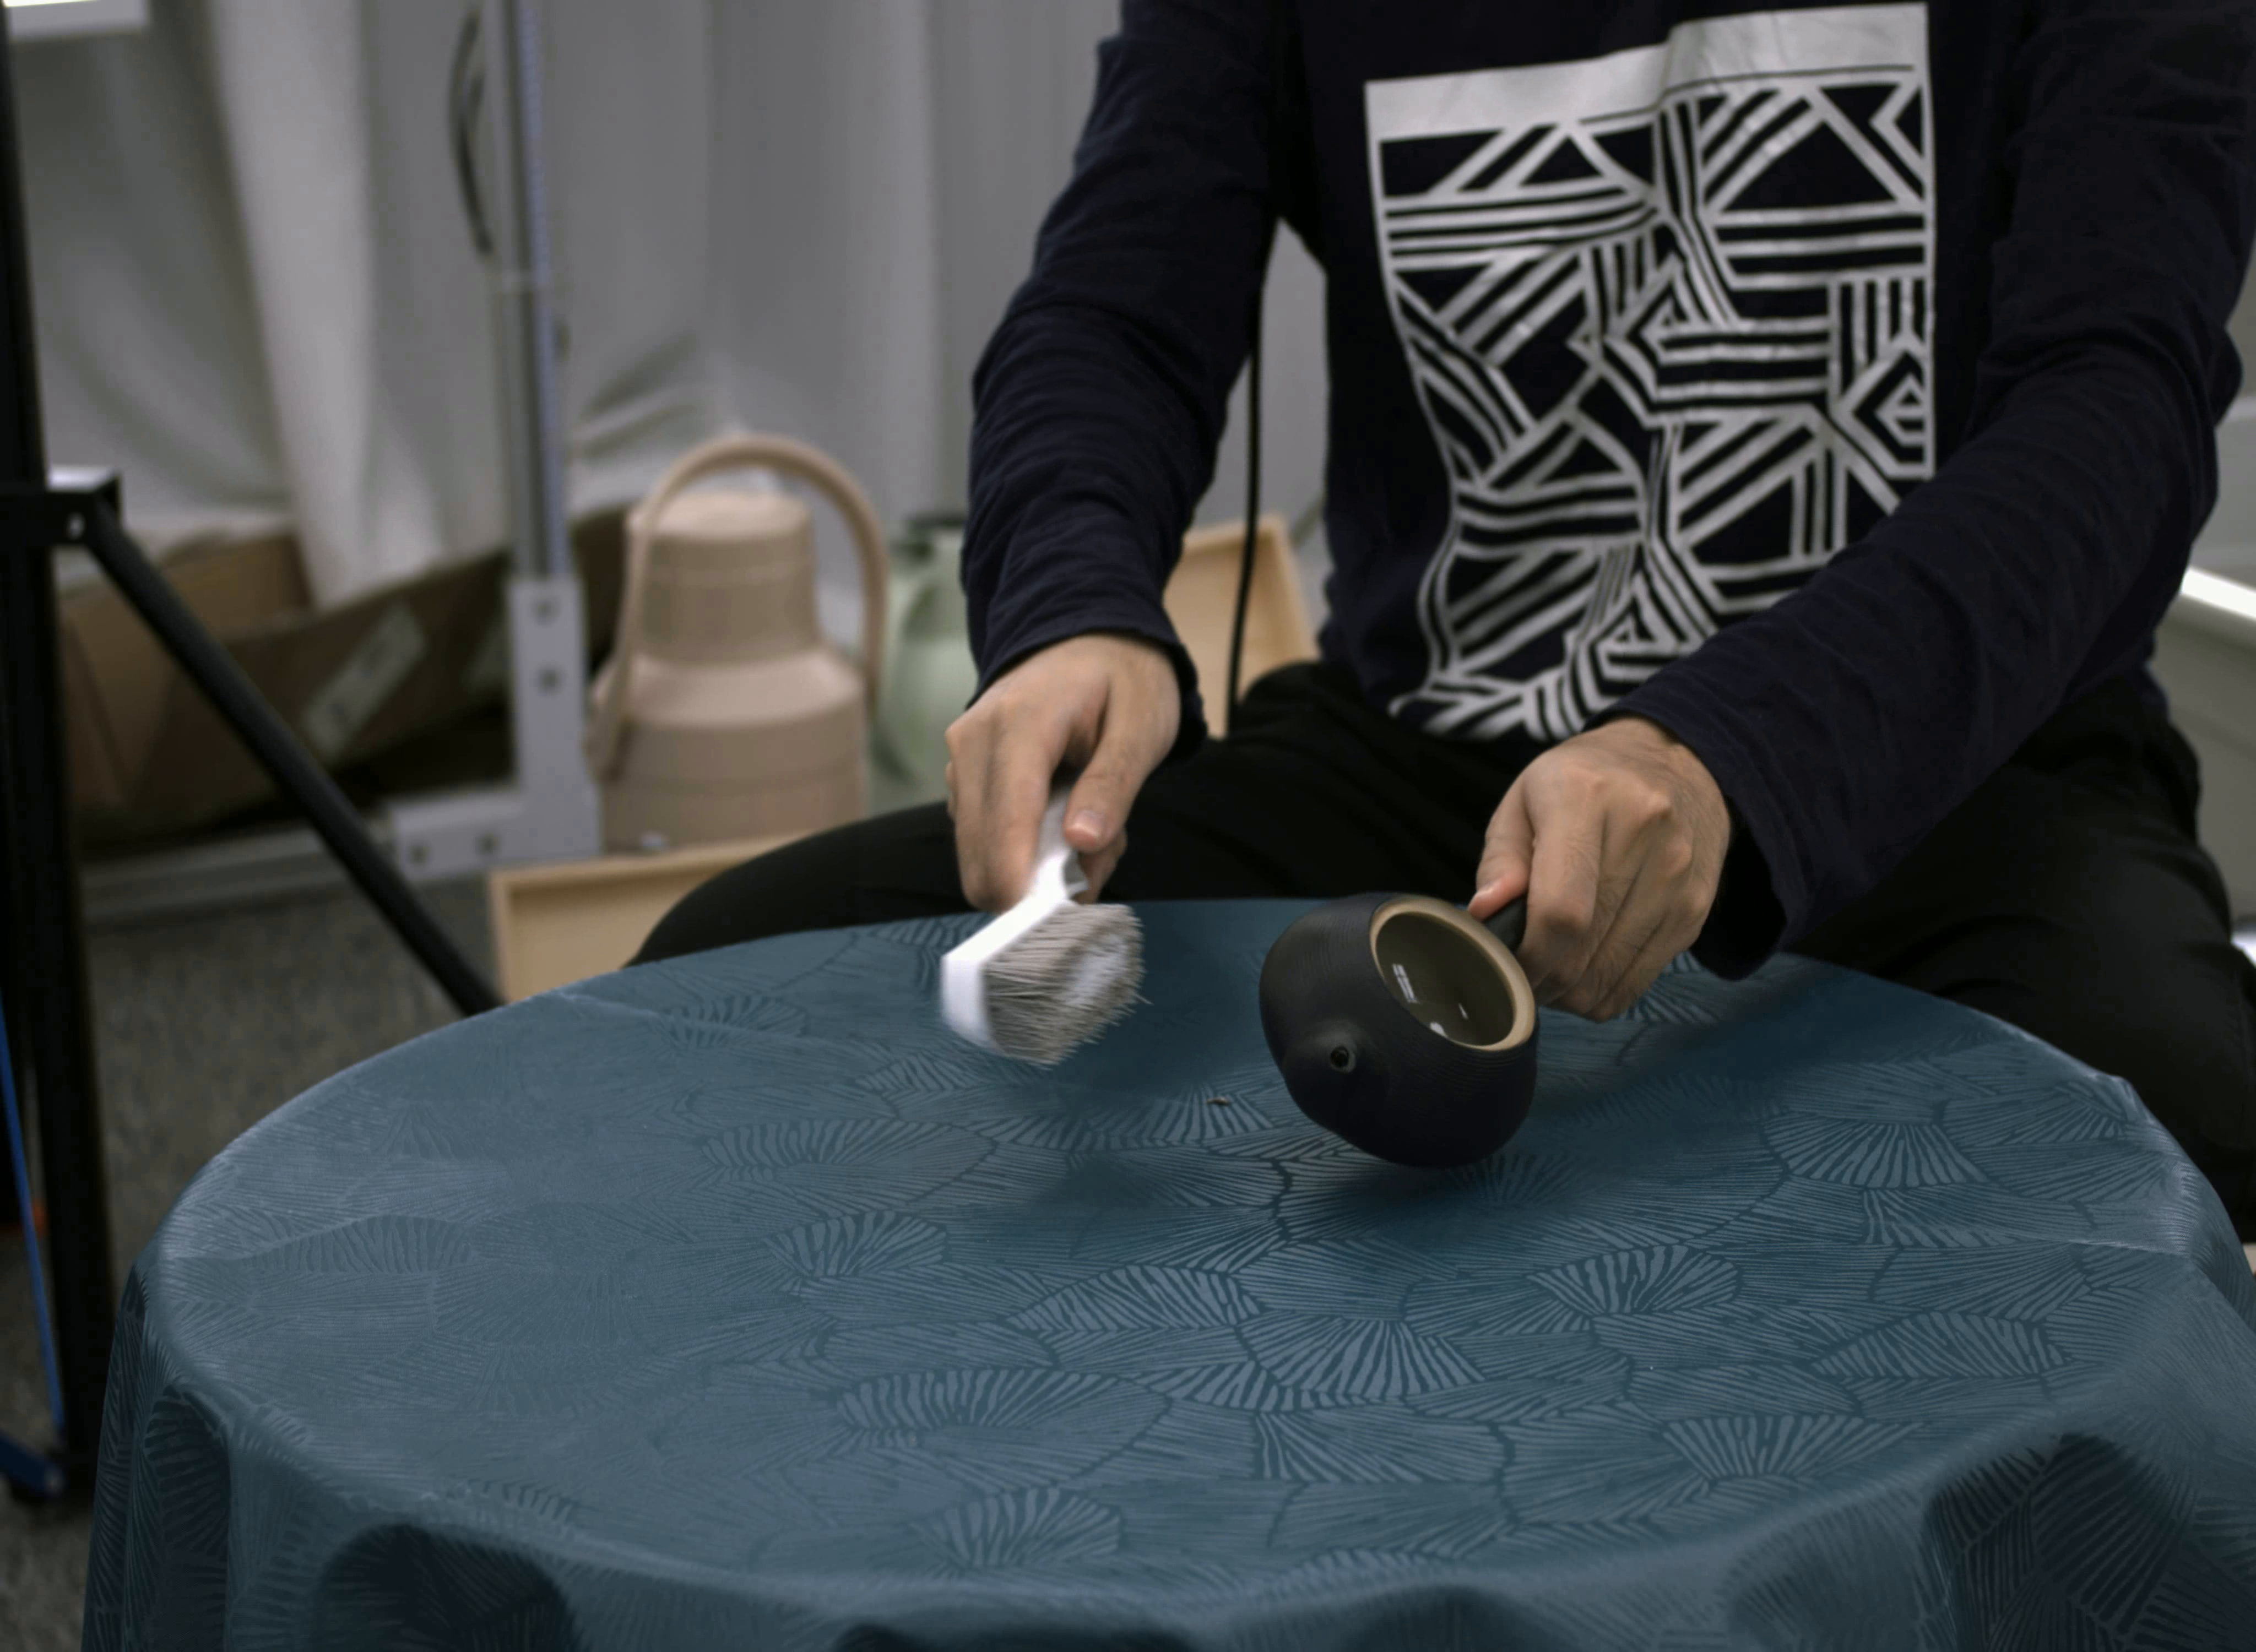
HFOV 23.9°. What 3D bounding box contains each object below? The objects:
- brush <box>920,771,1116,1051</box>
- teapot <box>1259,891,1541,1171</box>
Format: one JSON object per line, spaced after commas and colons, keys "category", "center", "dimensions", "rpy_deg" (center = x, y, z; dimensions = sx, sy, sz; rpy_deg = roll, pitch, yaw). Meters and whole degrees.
{"category": "brush", "center": [-0.018, 0.021, 1.654], "dimensions": [0.050, 0.034, 0.242], "rpy_deg": [-5, 14, 12]}
{"category": "teapot", "center": [0.082, 0.059, 1.560], "dimensions": [0.091, 0.053, 0.131], "rpy_deg": [45, 39, 8]}
